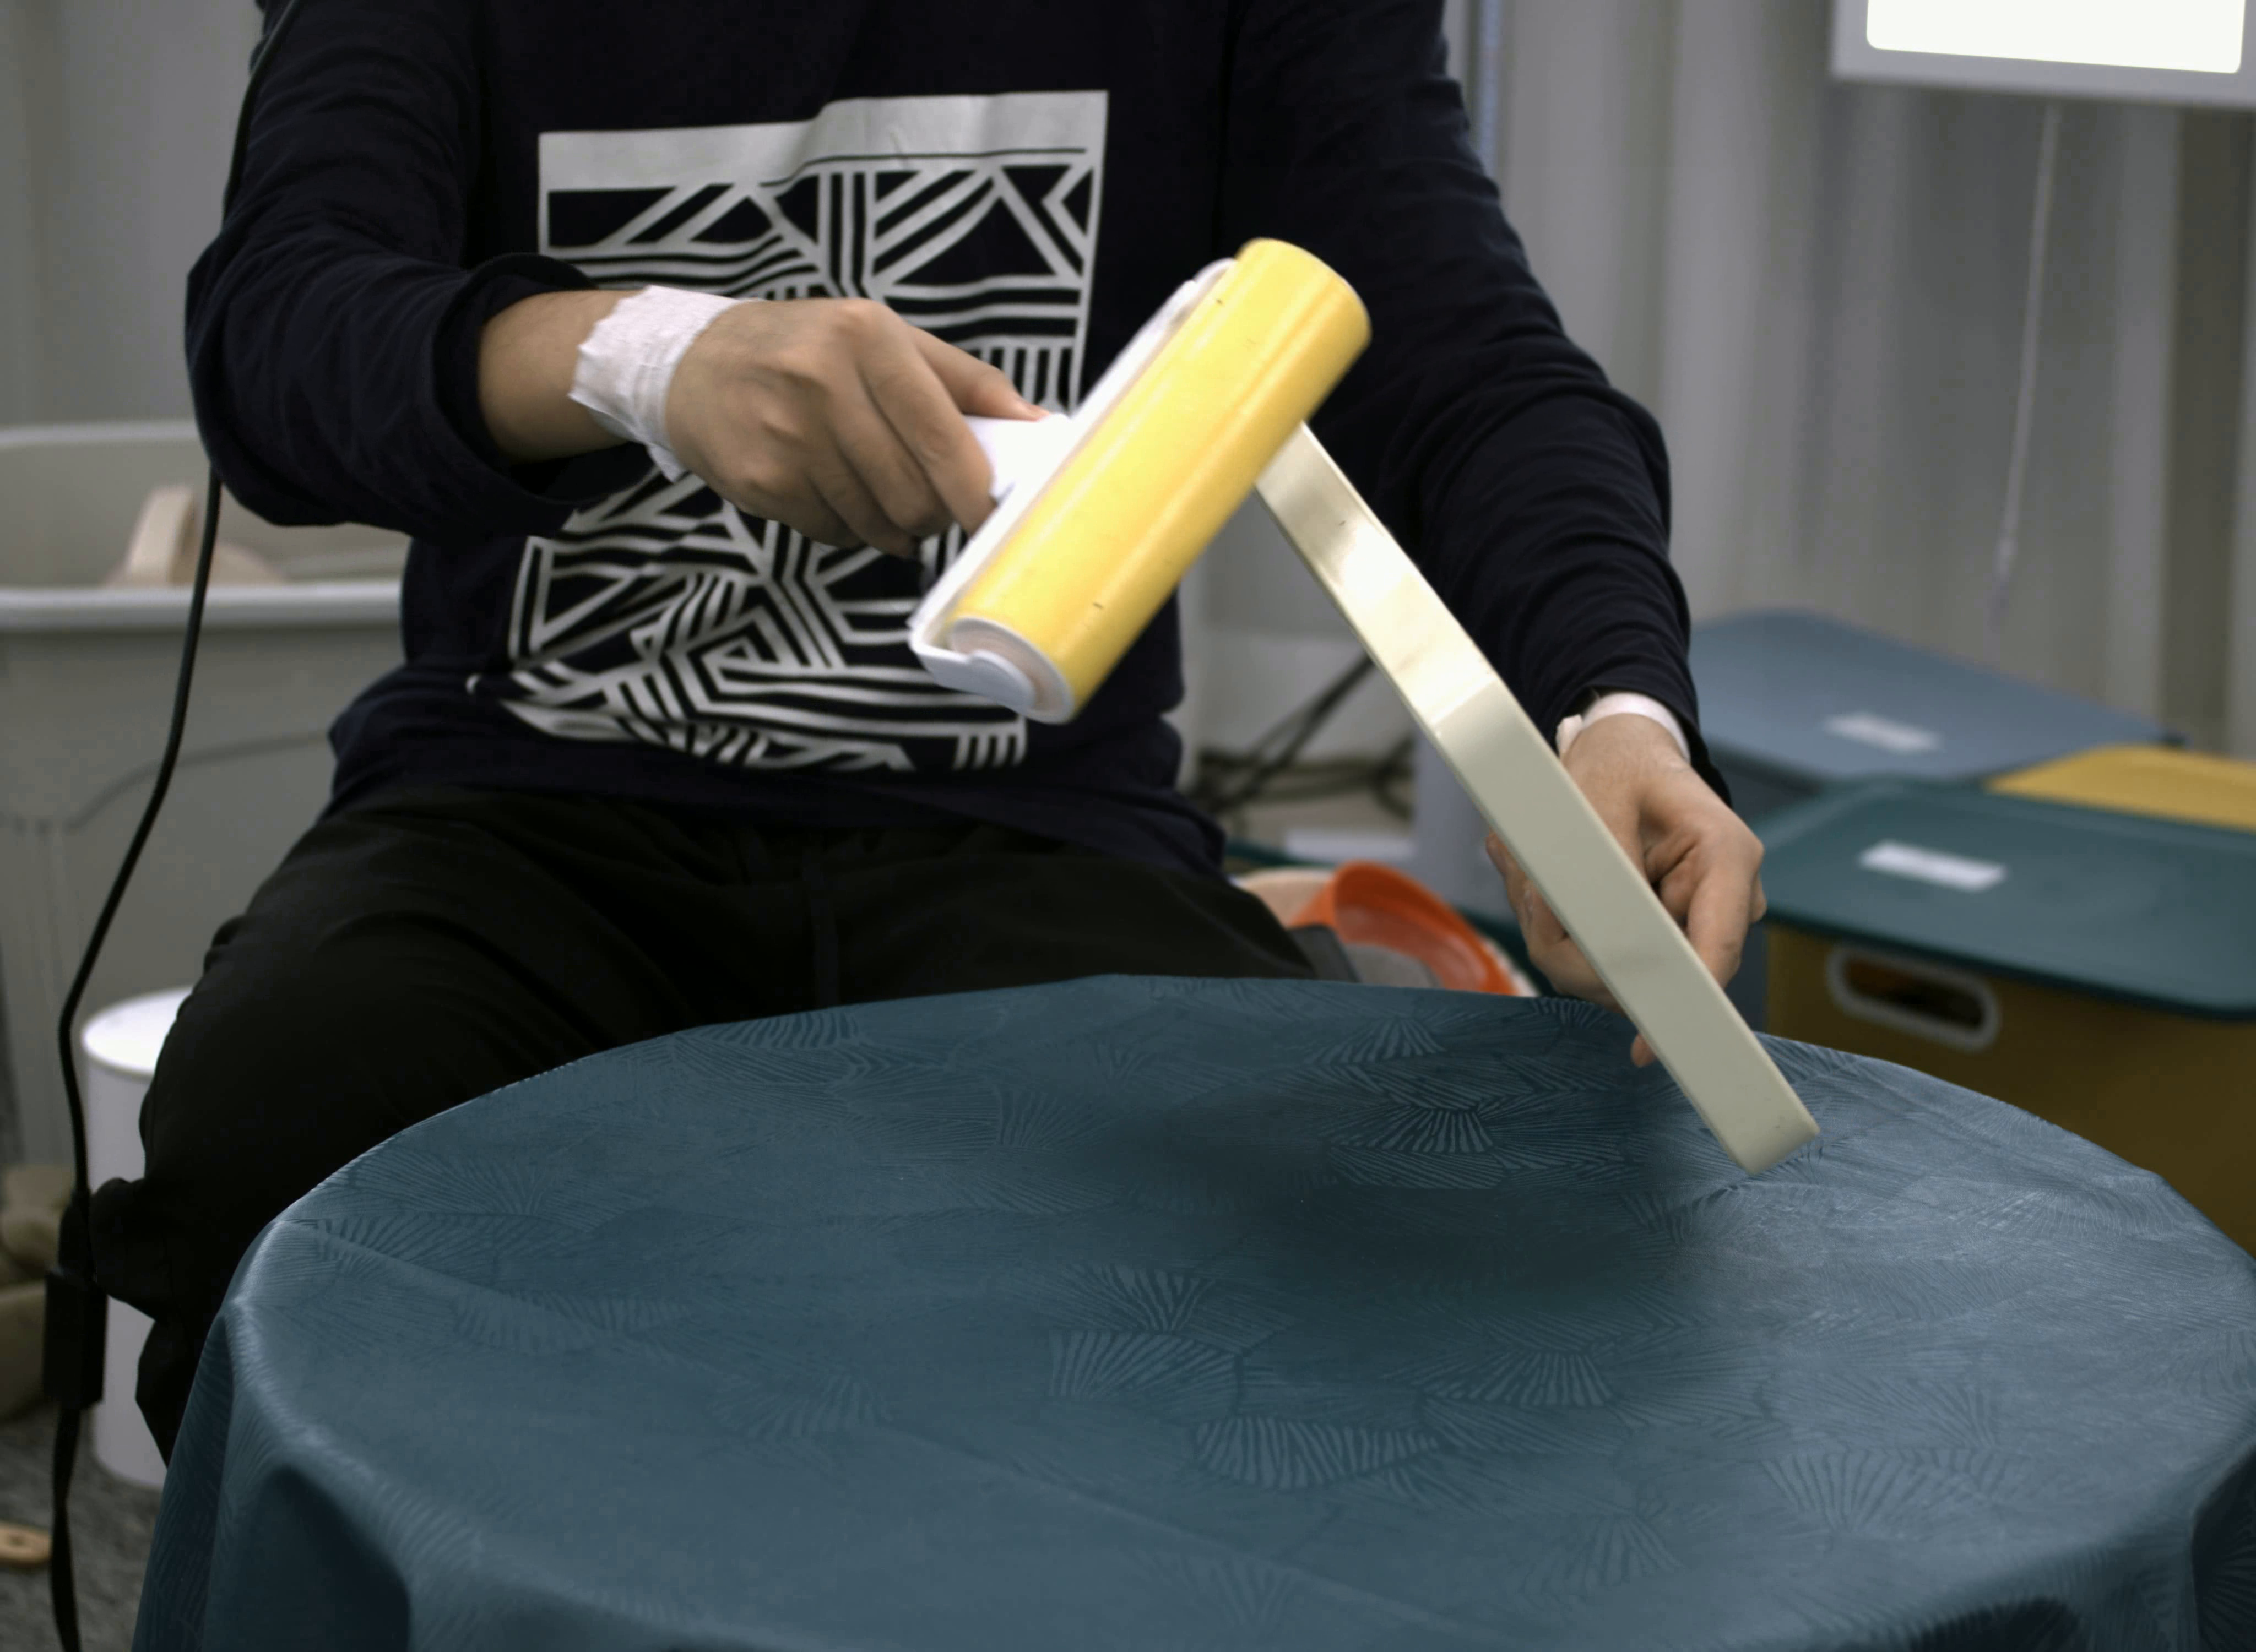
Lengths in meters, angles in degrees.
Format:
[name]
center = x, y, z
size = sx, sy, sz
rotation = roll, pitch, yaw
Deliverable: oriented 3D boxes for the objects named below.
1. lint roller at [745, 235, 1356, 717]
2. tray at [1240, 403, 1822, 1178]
[lint roller]
center = -0.049, -0.120, 1.604
size = 0.189, 0.052, 0.174
rotation = 17, 58, 34
[tray]
center = 0.117, -0.018, 1.631
size = 0.027, 0.194, 0.297
rotation = -35, 23, 3
